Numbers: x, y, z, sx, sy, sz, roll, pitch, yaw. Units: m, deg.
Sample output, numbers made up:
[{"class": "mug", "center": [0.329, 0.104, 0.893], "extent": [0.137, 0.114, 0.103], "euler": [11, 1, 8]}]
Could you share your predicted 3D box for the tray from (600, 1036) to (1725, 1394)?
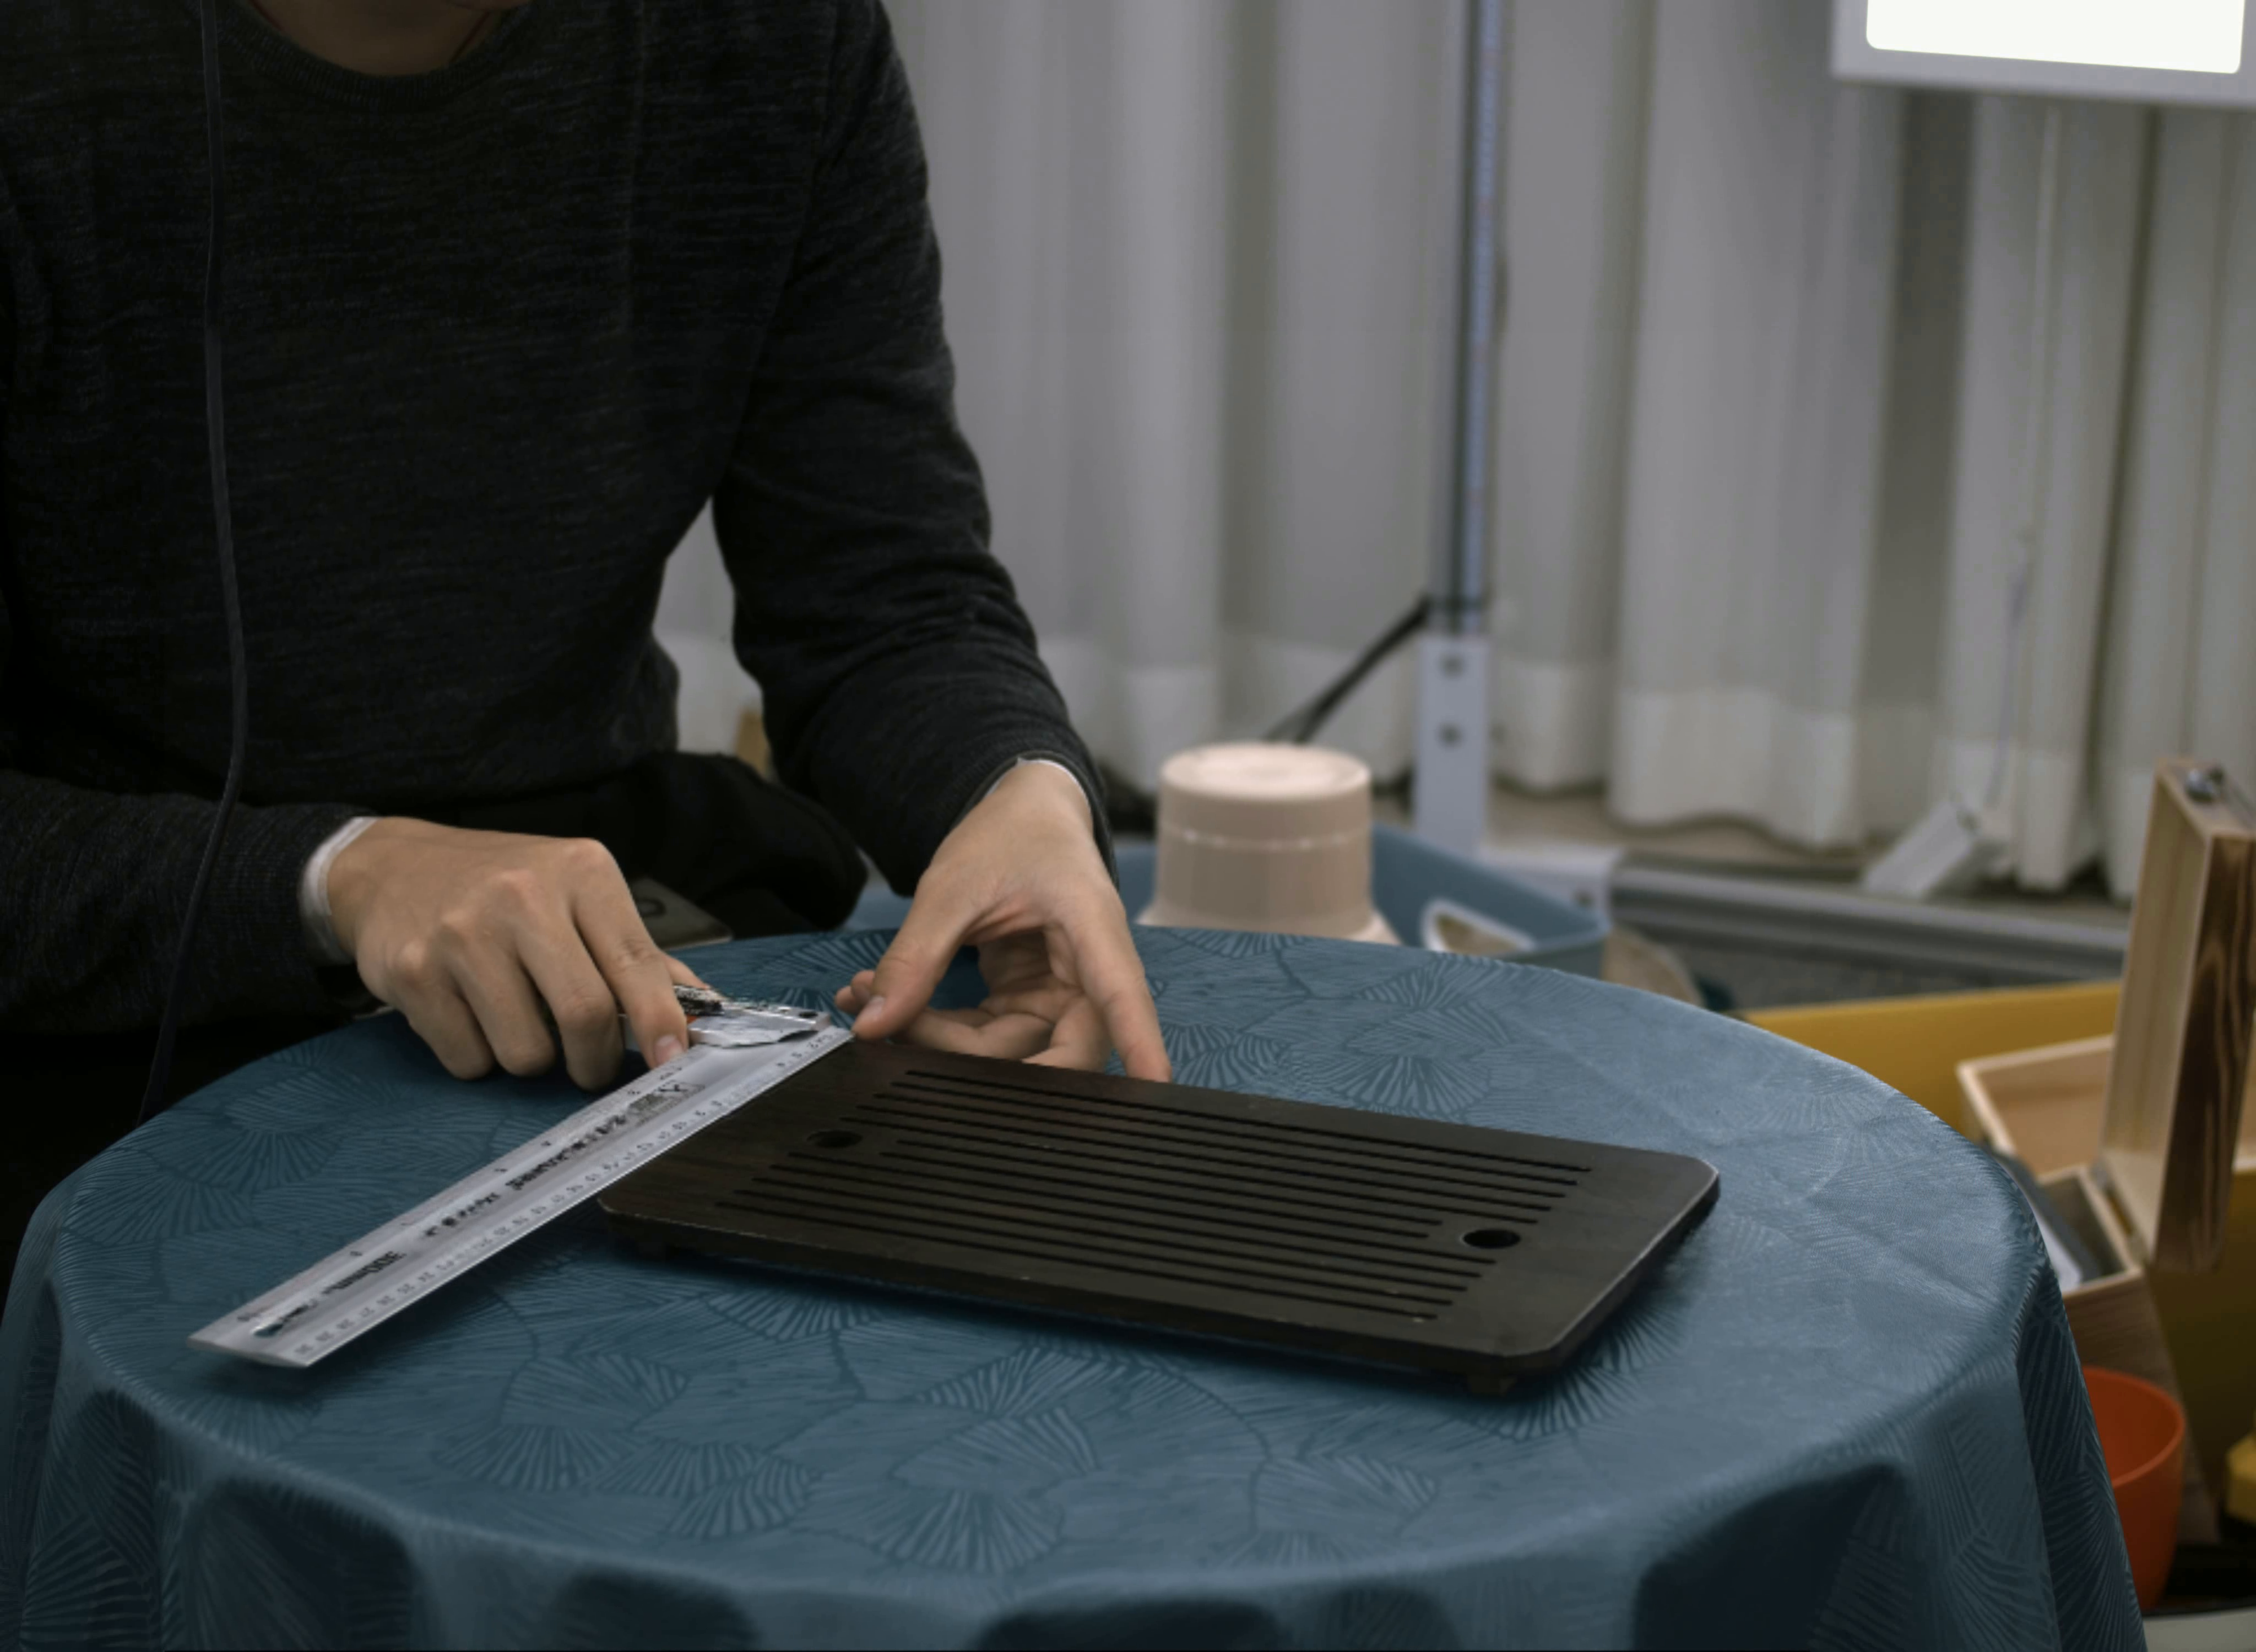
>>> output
[{"class": "tray", "center": [0.011, 0.114, 1.576], "extent": [0.303, 0.019, 0.170], "euler": [7, 19, 23]}]

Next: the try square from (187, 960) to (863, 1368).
[{"class": "try square", "center": [-0.221, 0.098, 1.602], "extent": [0.150, 0.016, 0.313], "euler": [8, 19, 26]}]
